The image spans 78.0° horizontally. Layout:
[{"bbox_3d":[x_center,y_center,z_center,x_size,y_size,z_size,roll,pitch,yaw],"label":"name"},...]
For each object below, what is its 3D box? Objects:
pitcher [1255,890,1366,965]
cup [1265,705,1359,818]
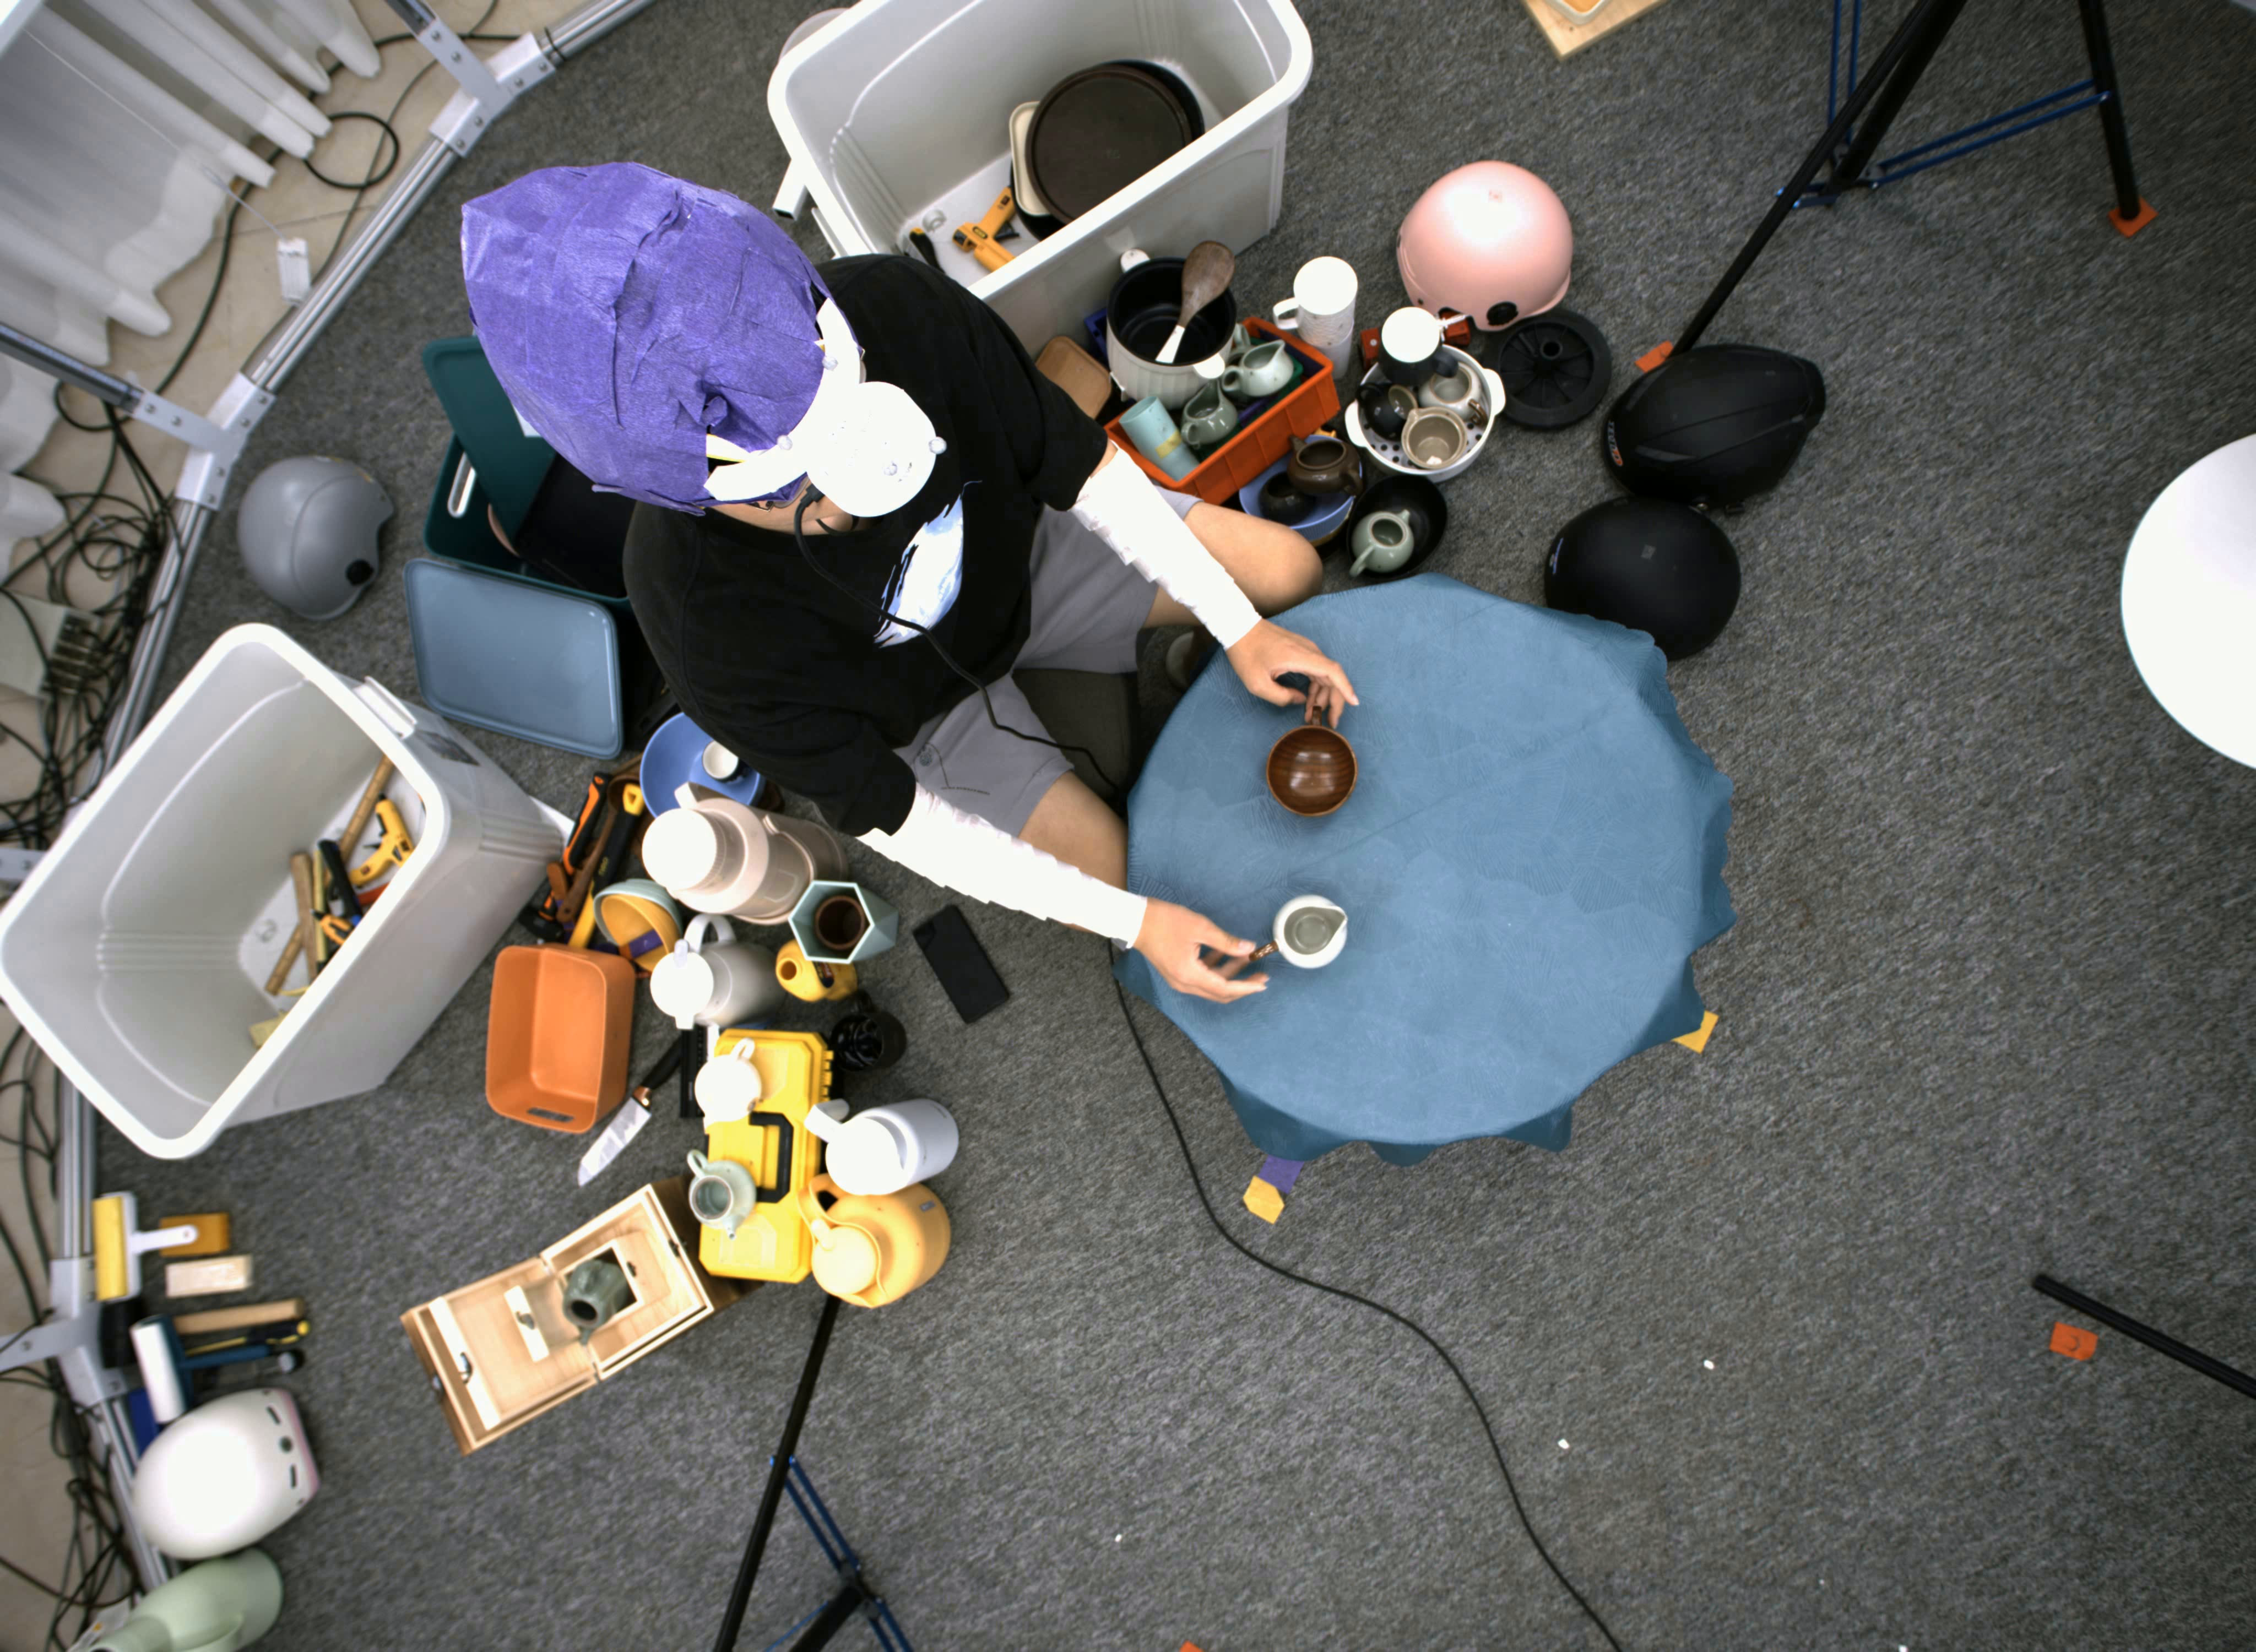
[{"bbox_3d":[0.188,0.107,1.427,0.119,0.088,0.075,-20,77,5],"label":"pitcher"},{"bbox_3d":[0.196,-0.067,1.447,0.096,0.068,0.119,3,85,14],"label":"cup"}]
